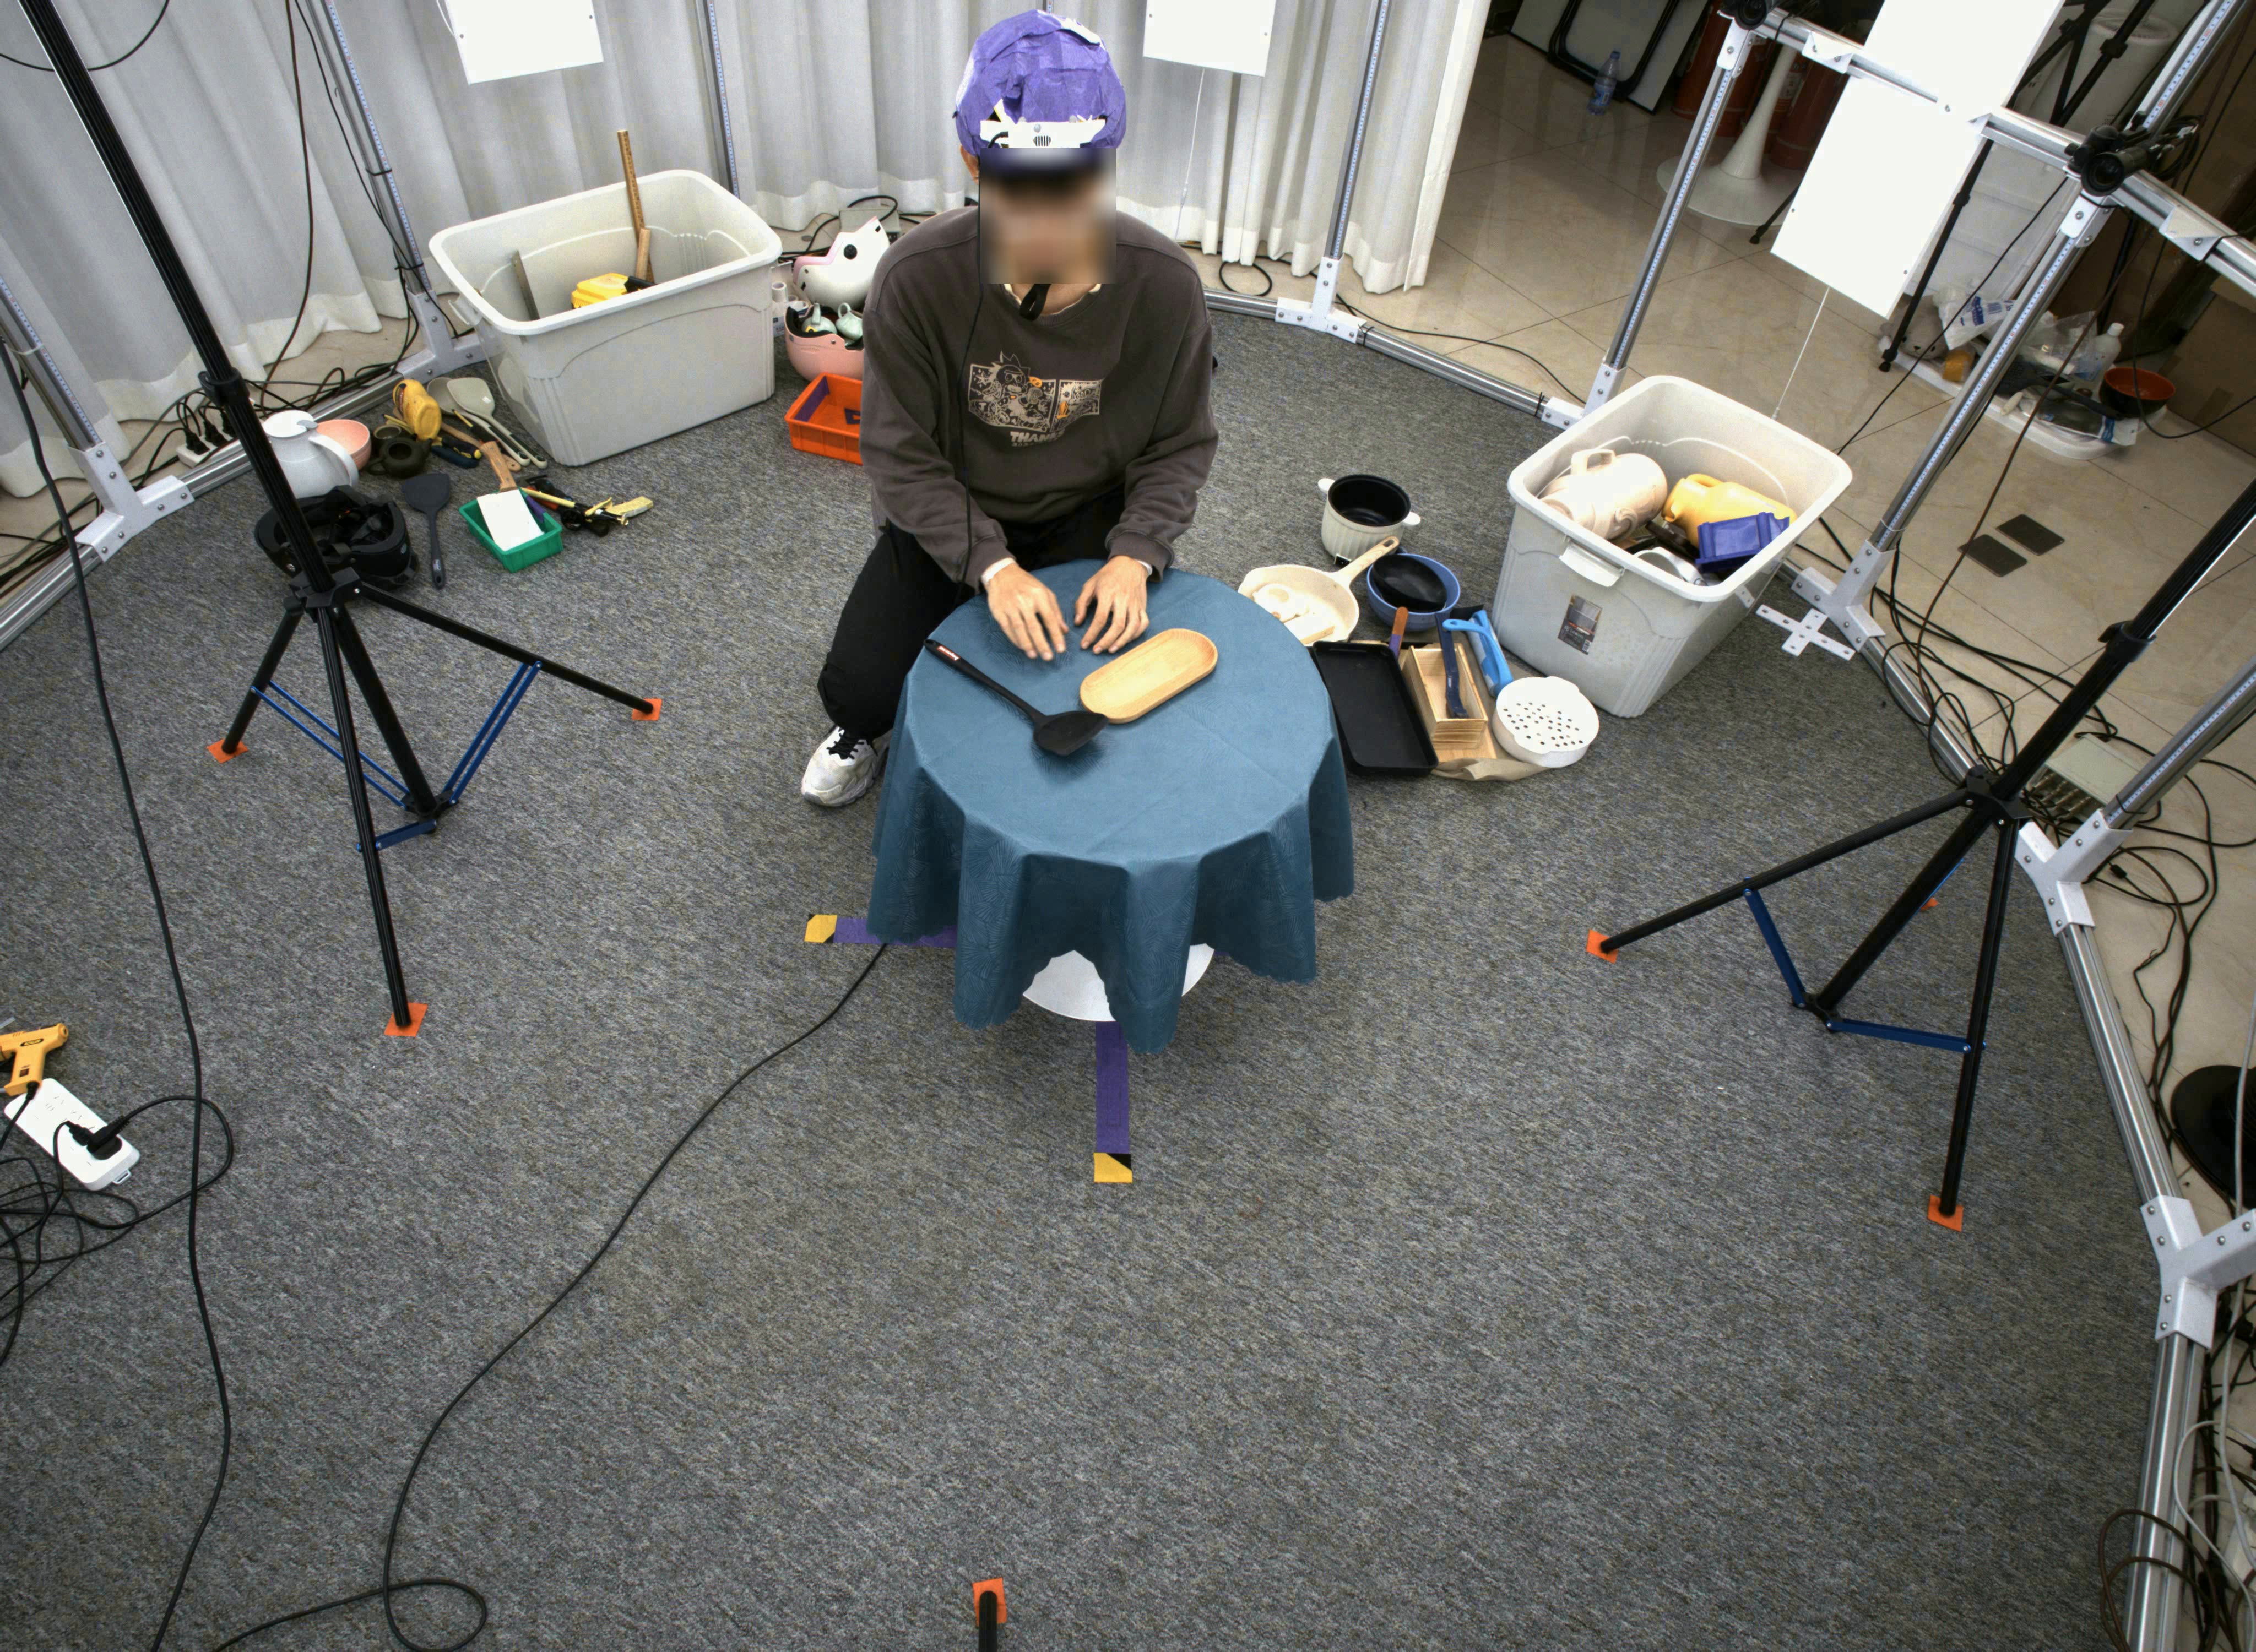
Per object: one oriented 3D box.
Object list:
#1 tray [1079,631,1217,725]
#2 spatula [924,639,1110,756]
[{"bbox_3d":[0.030,-0.214,1.844,0.233,0.020,0.103,-34,58,-27],"label":"tray"},{"bbox_3d":[-0.172,-0.191,1.798,0.330,0.039,0.101,36,55,25],"label":"spatula"}]
